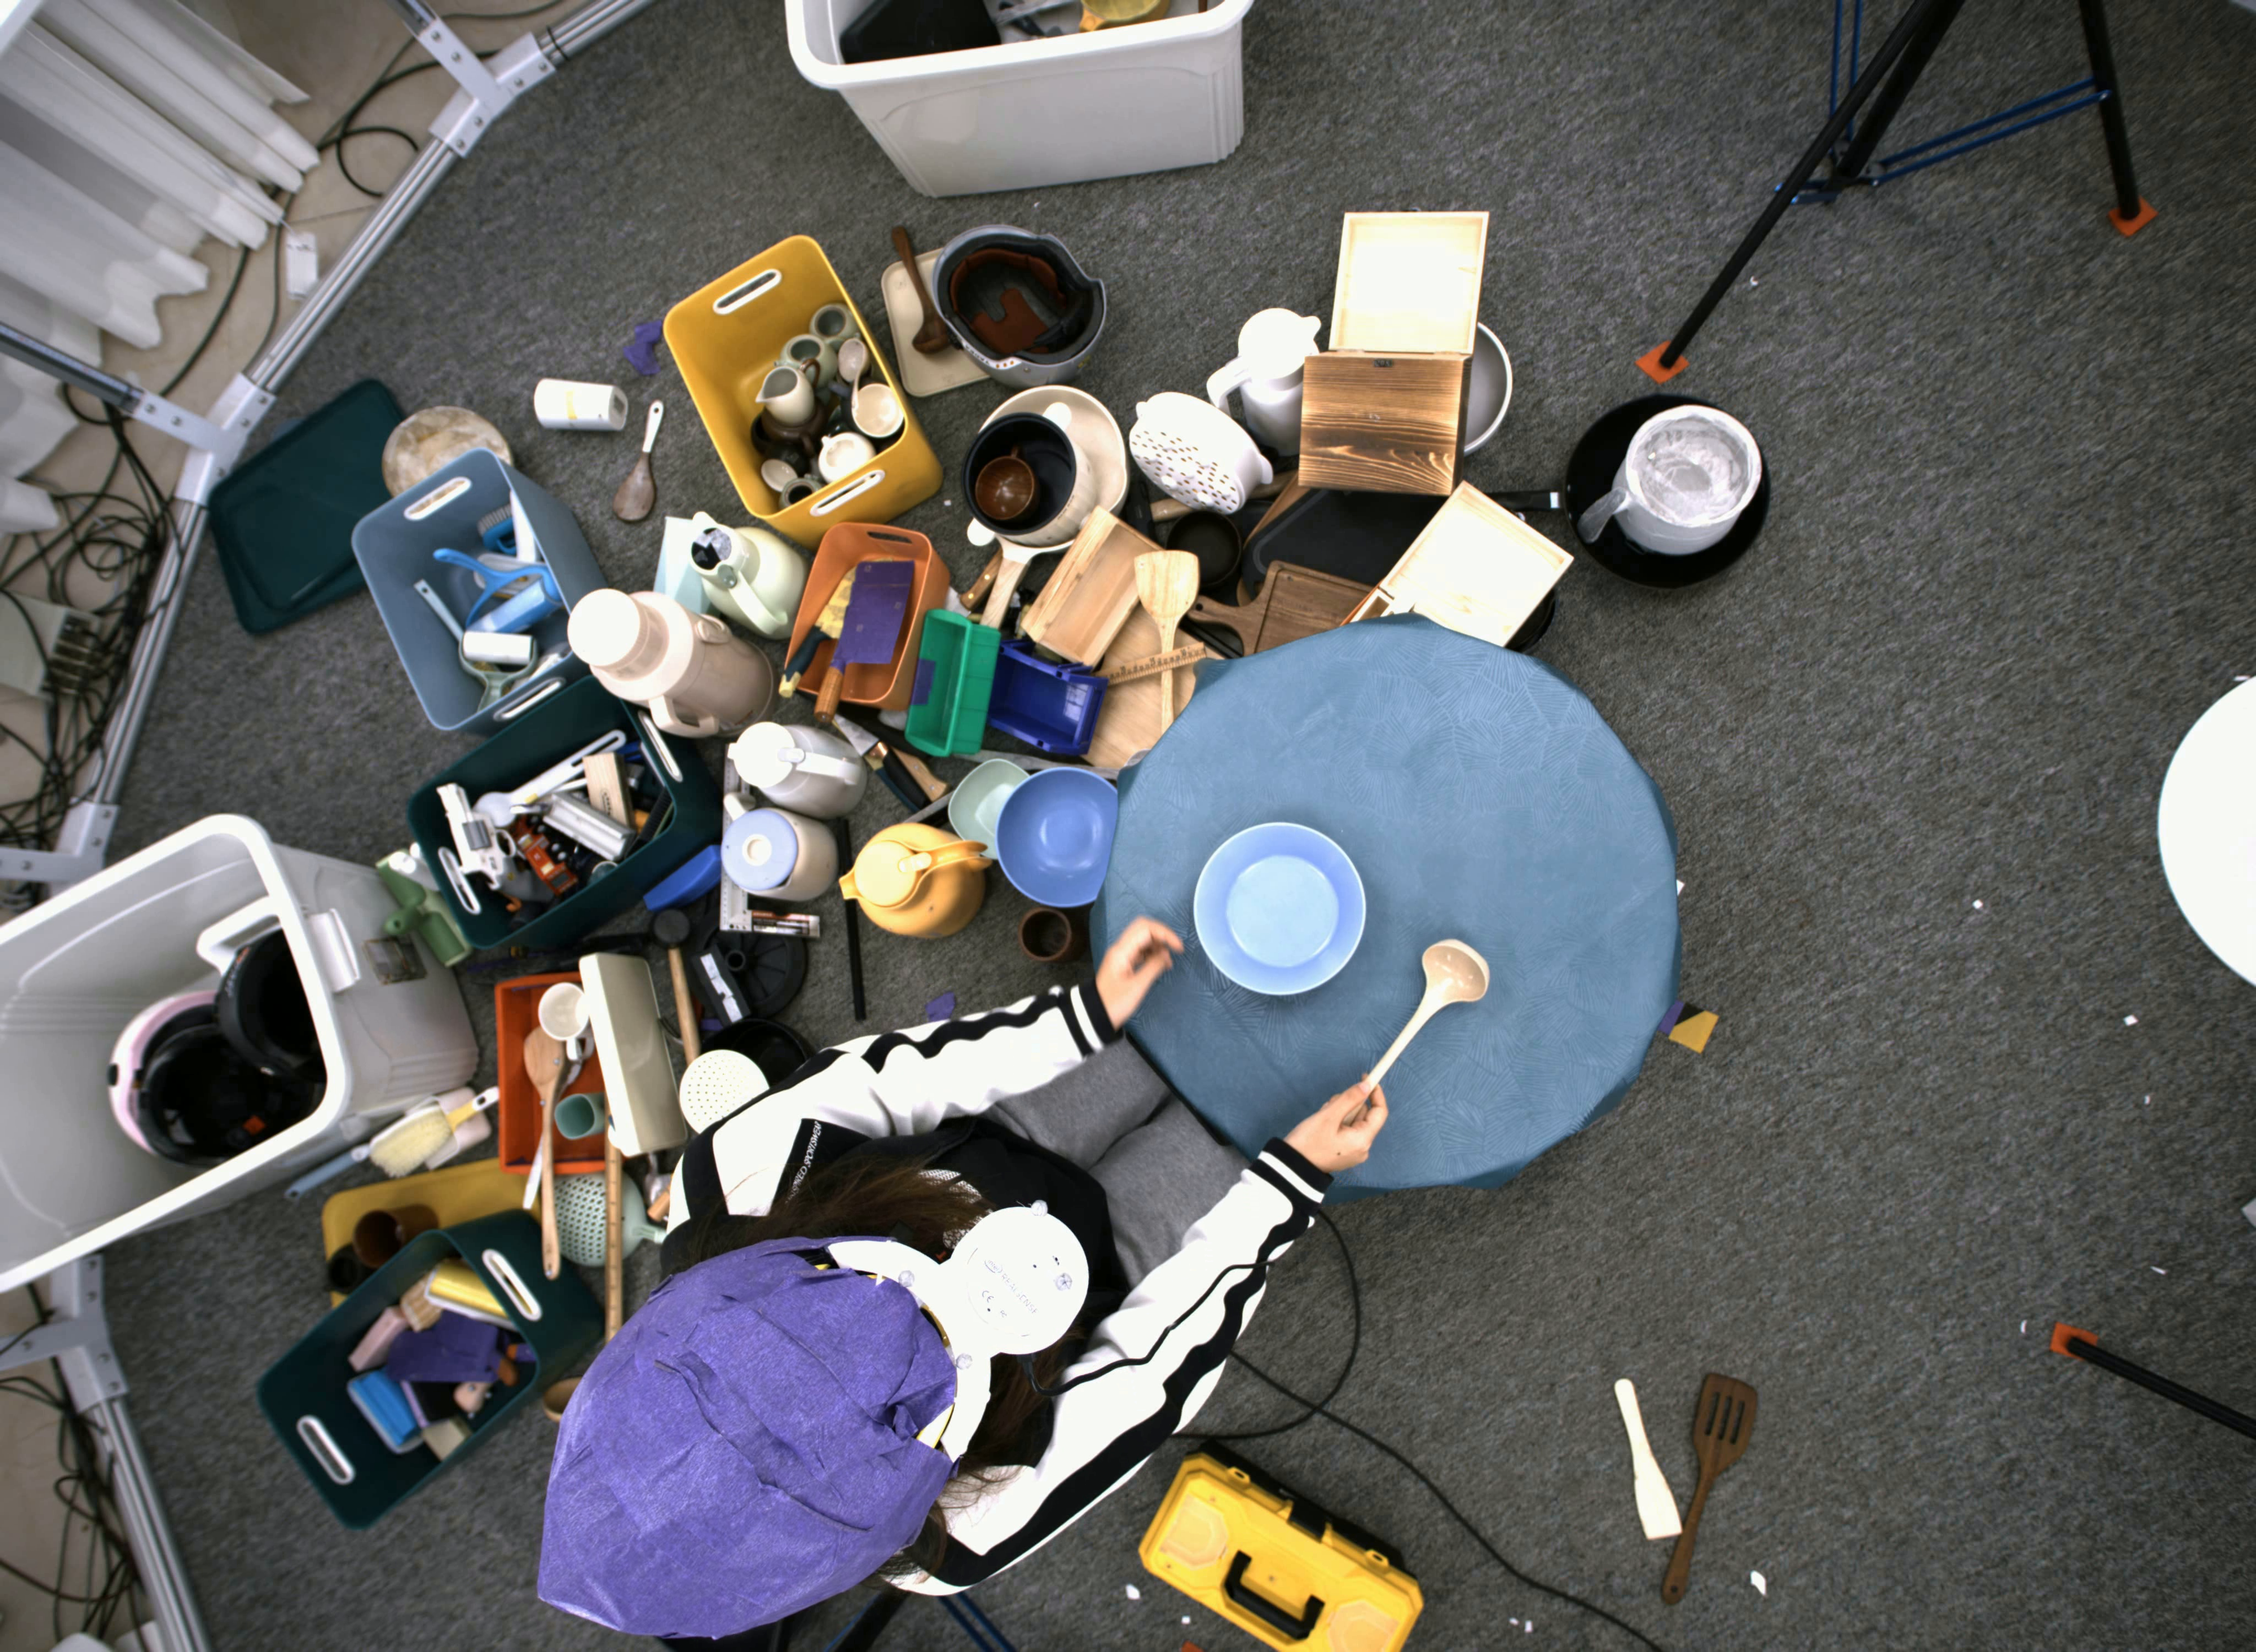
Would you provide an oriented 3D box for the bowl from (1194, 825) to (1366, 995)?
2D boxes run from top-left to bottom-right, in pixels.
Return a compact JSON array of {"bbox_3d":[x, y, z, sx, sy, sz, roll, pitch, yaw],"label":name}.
[{"bbox_3d":[0.160,0.088,1.444,0.177,0.070,0.175,-1,85,11],"label":"bowl"}]

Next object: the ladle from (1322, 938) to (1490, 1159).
[{"bbox_3d":[0.271,0.223,1.379,0.072,0.073,0.253,35,83,13],"label":"ladle"}]
